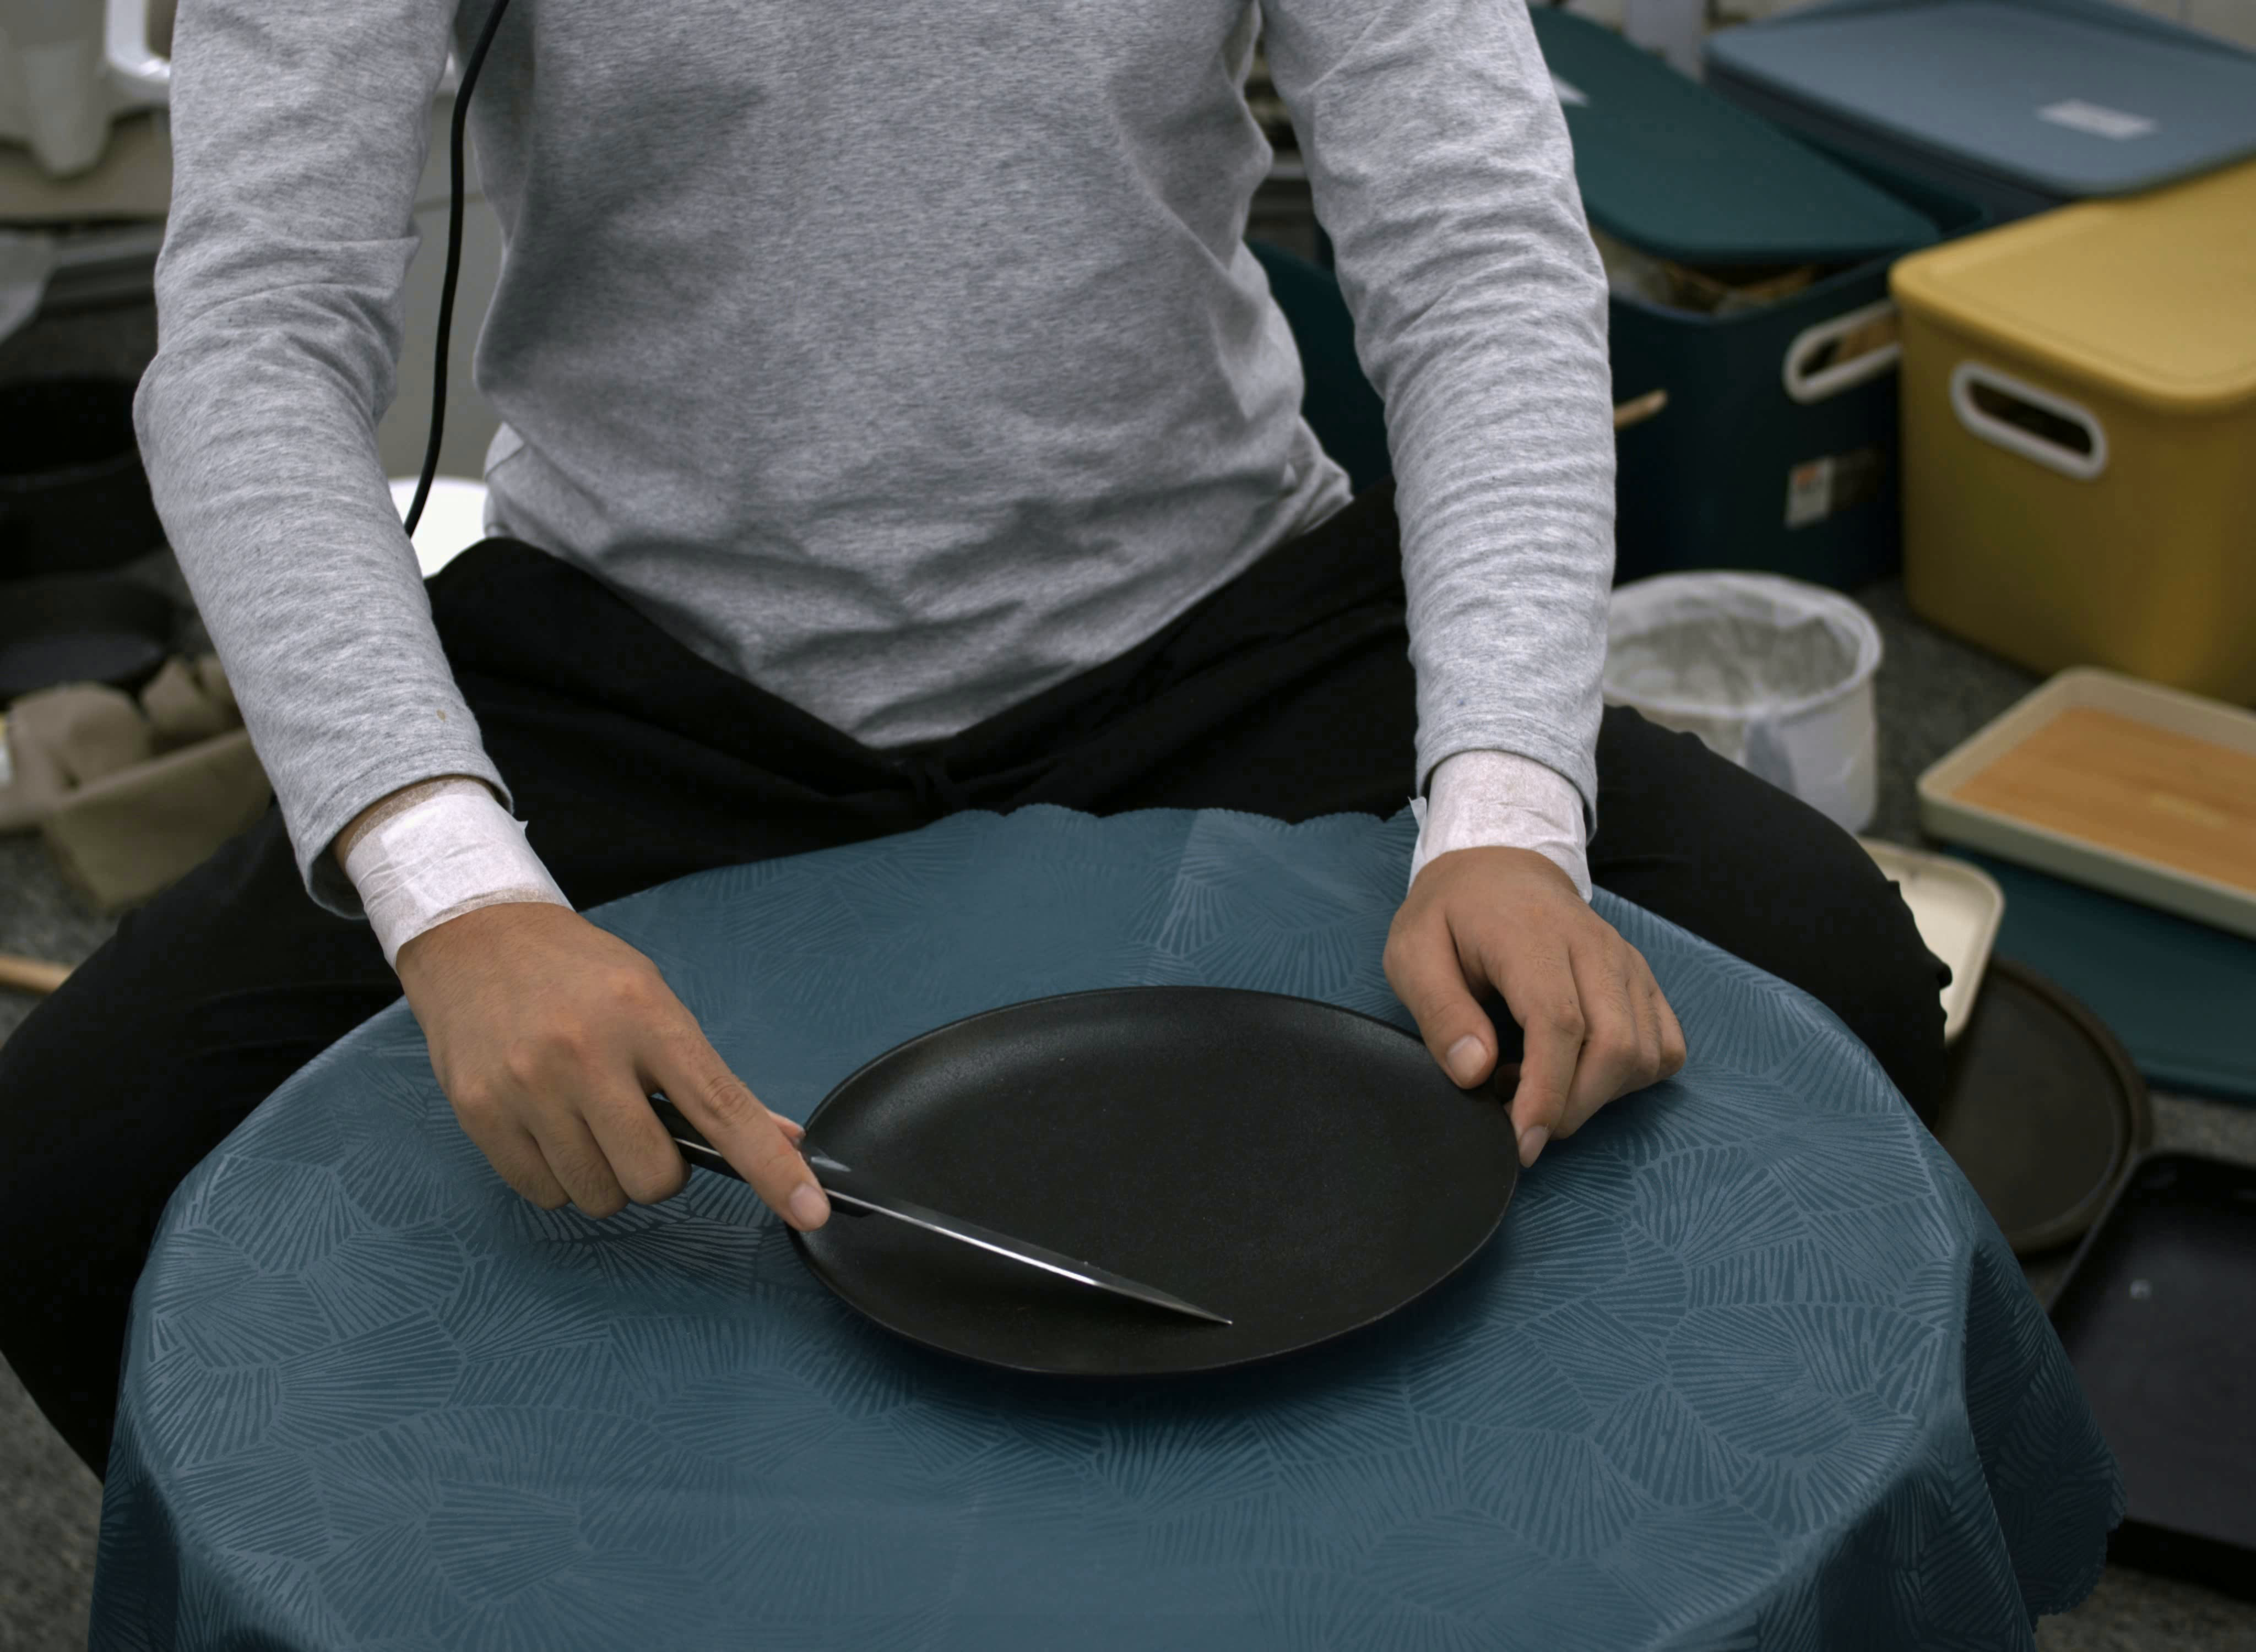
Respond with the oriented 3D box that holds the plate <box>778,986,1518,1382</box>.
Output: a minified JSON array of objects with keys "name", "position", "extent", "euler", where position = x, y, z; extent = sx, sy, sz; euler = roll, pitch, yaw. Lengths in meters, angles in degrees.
[{"name":"plate","position":[0.007,0.121,1.838],"extent":[0.243,0.023,0.248],"euler":[-2,27,1]}]

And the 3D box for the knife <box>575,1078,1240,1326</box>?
[{"name":"knife","position":[-0.074,0.124,1.805],"extent":[0.237,0.016,0.024],"euler":[18,14,17]}]
